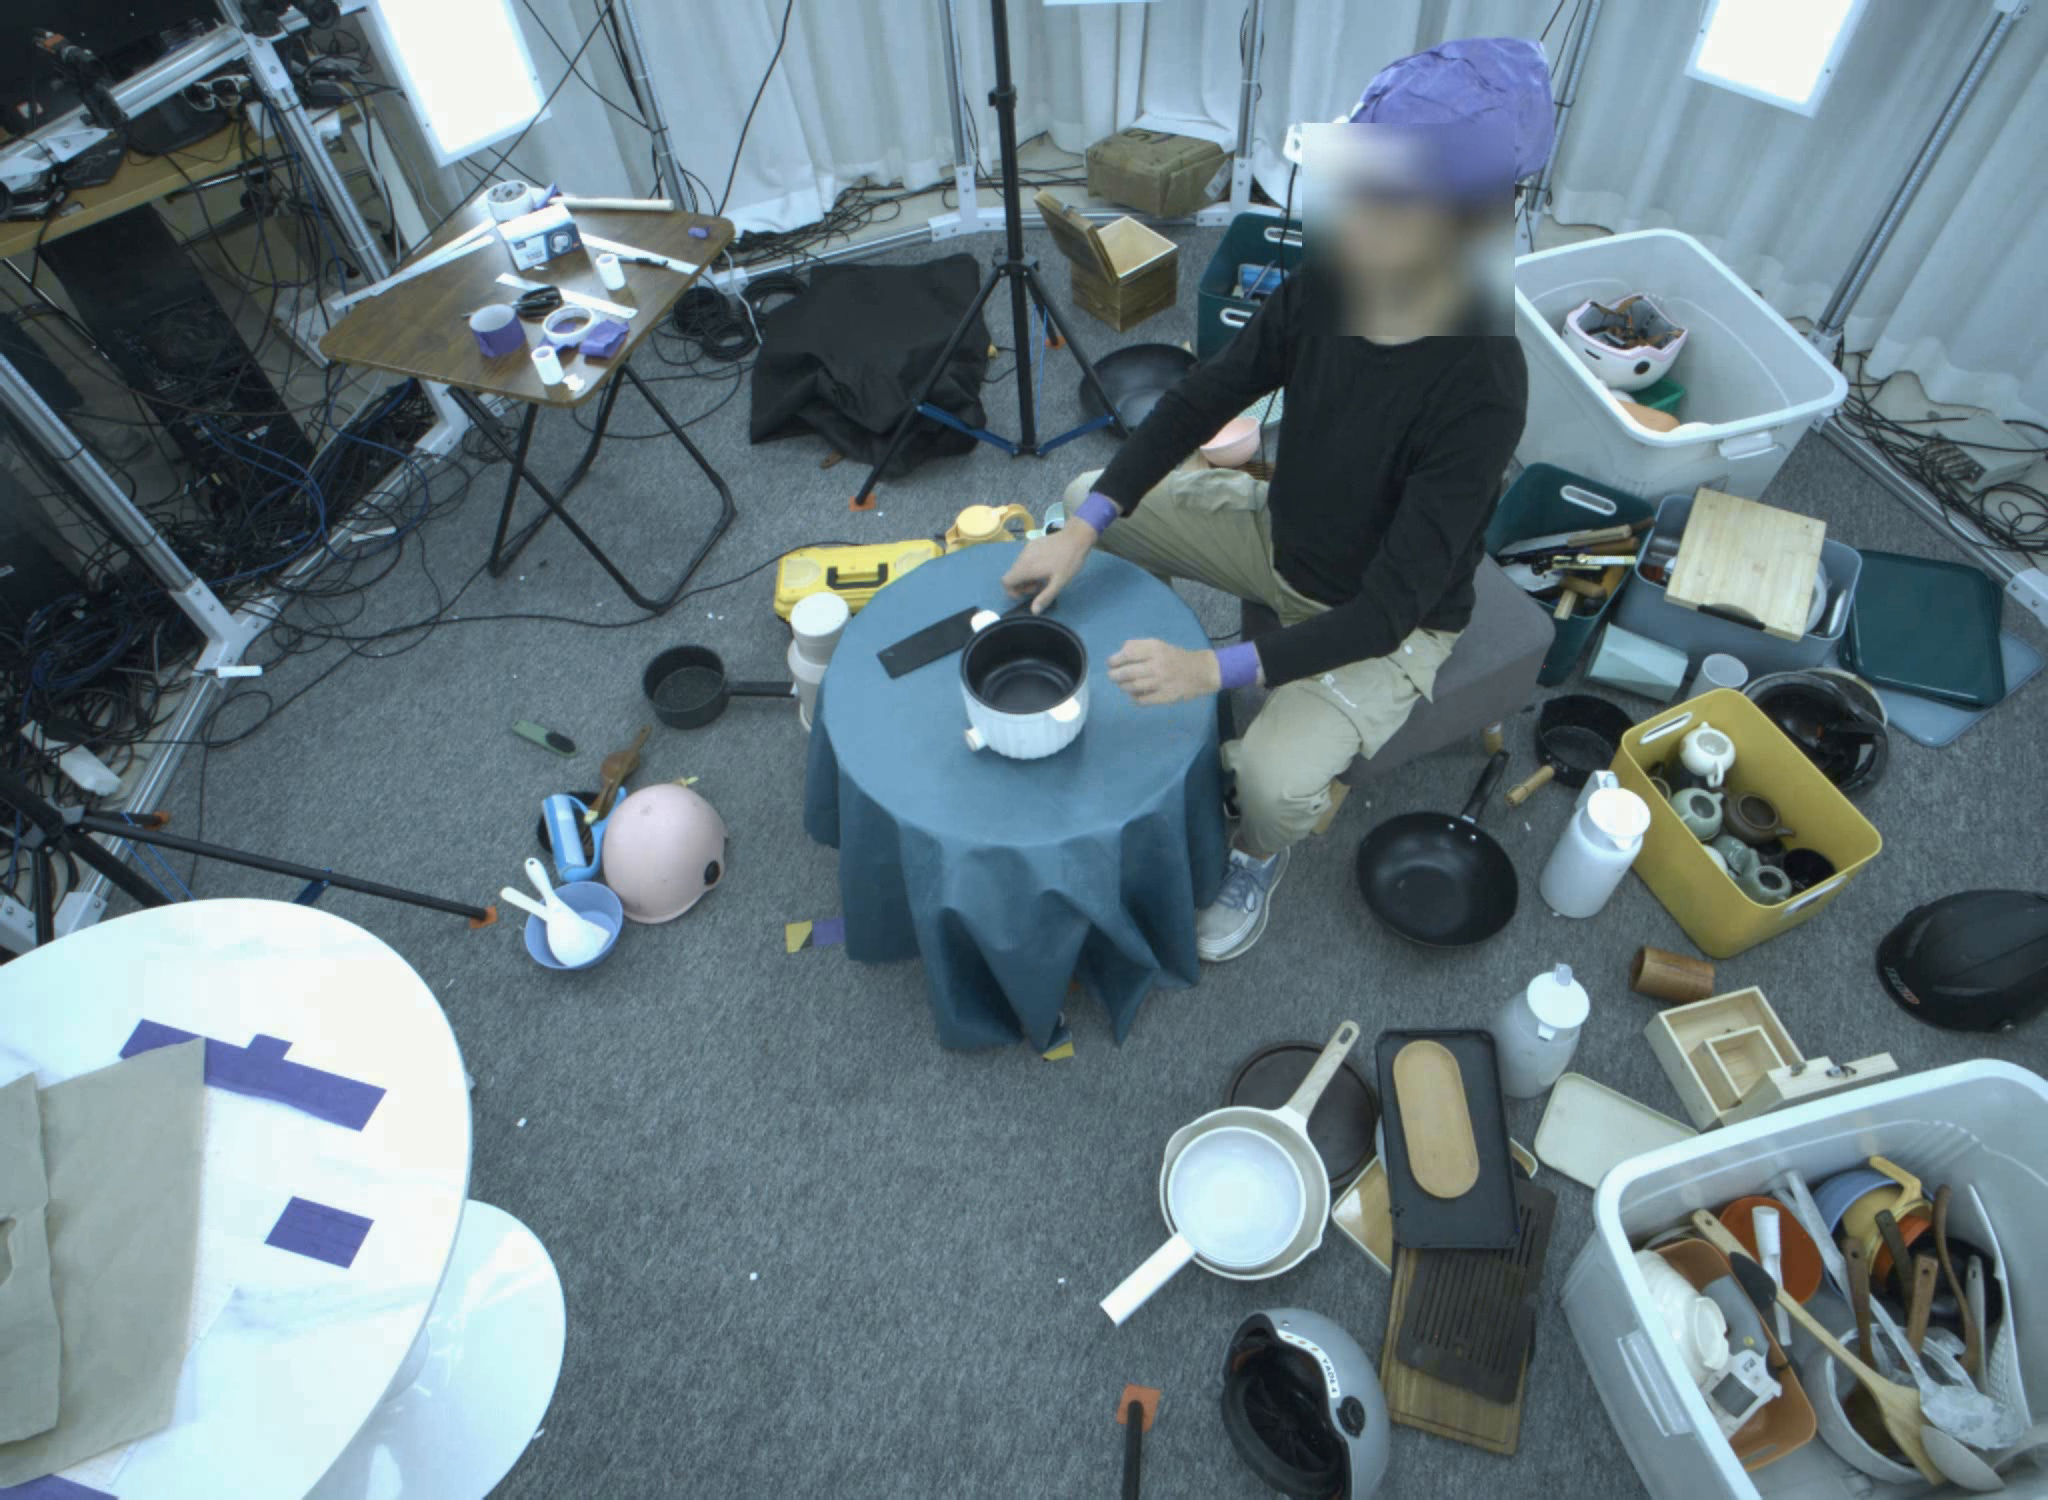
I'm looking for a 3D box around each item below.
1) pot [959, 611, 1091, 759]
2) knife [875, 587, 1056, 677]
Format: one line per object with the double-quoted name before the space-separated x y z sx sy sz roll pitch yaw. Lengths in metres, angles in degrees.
"pot" -0.001 -0.080 1.755 0.192 0.144 0.236 -29 57 -21
"knife" -0.086 -0.192 1.915 0.304 0.021 0.079 -22 56 -11
